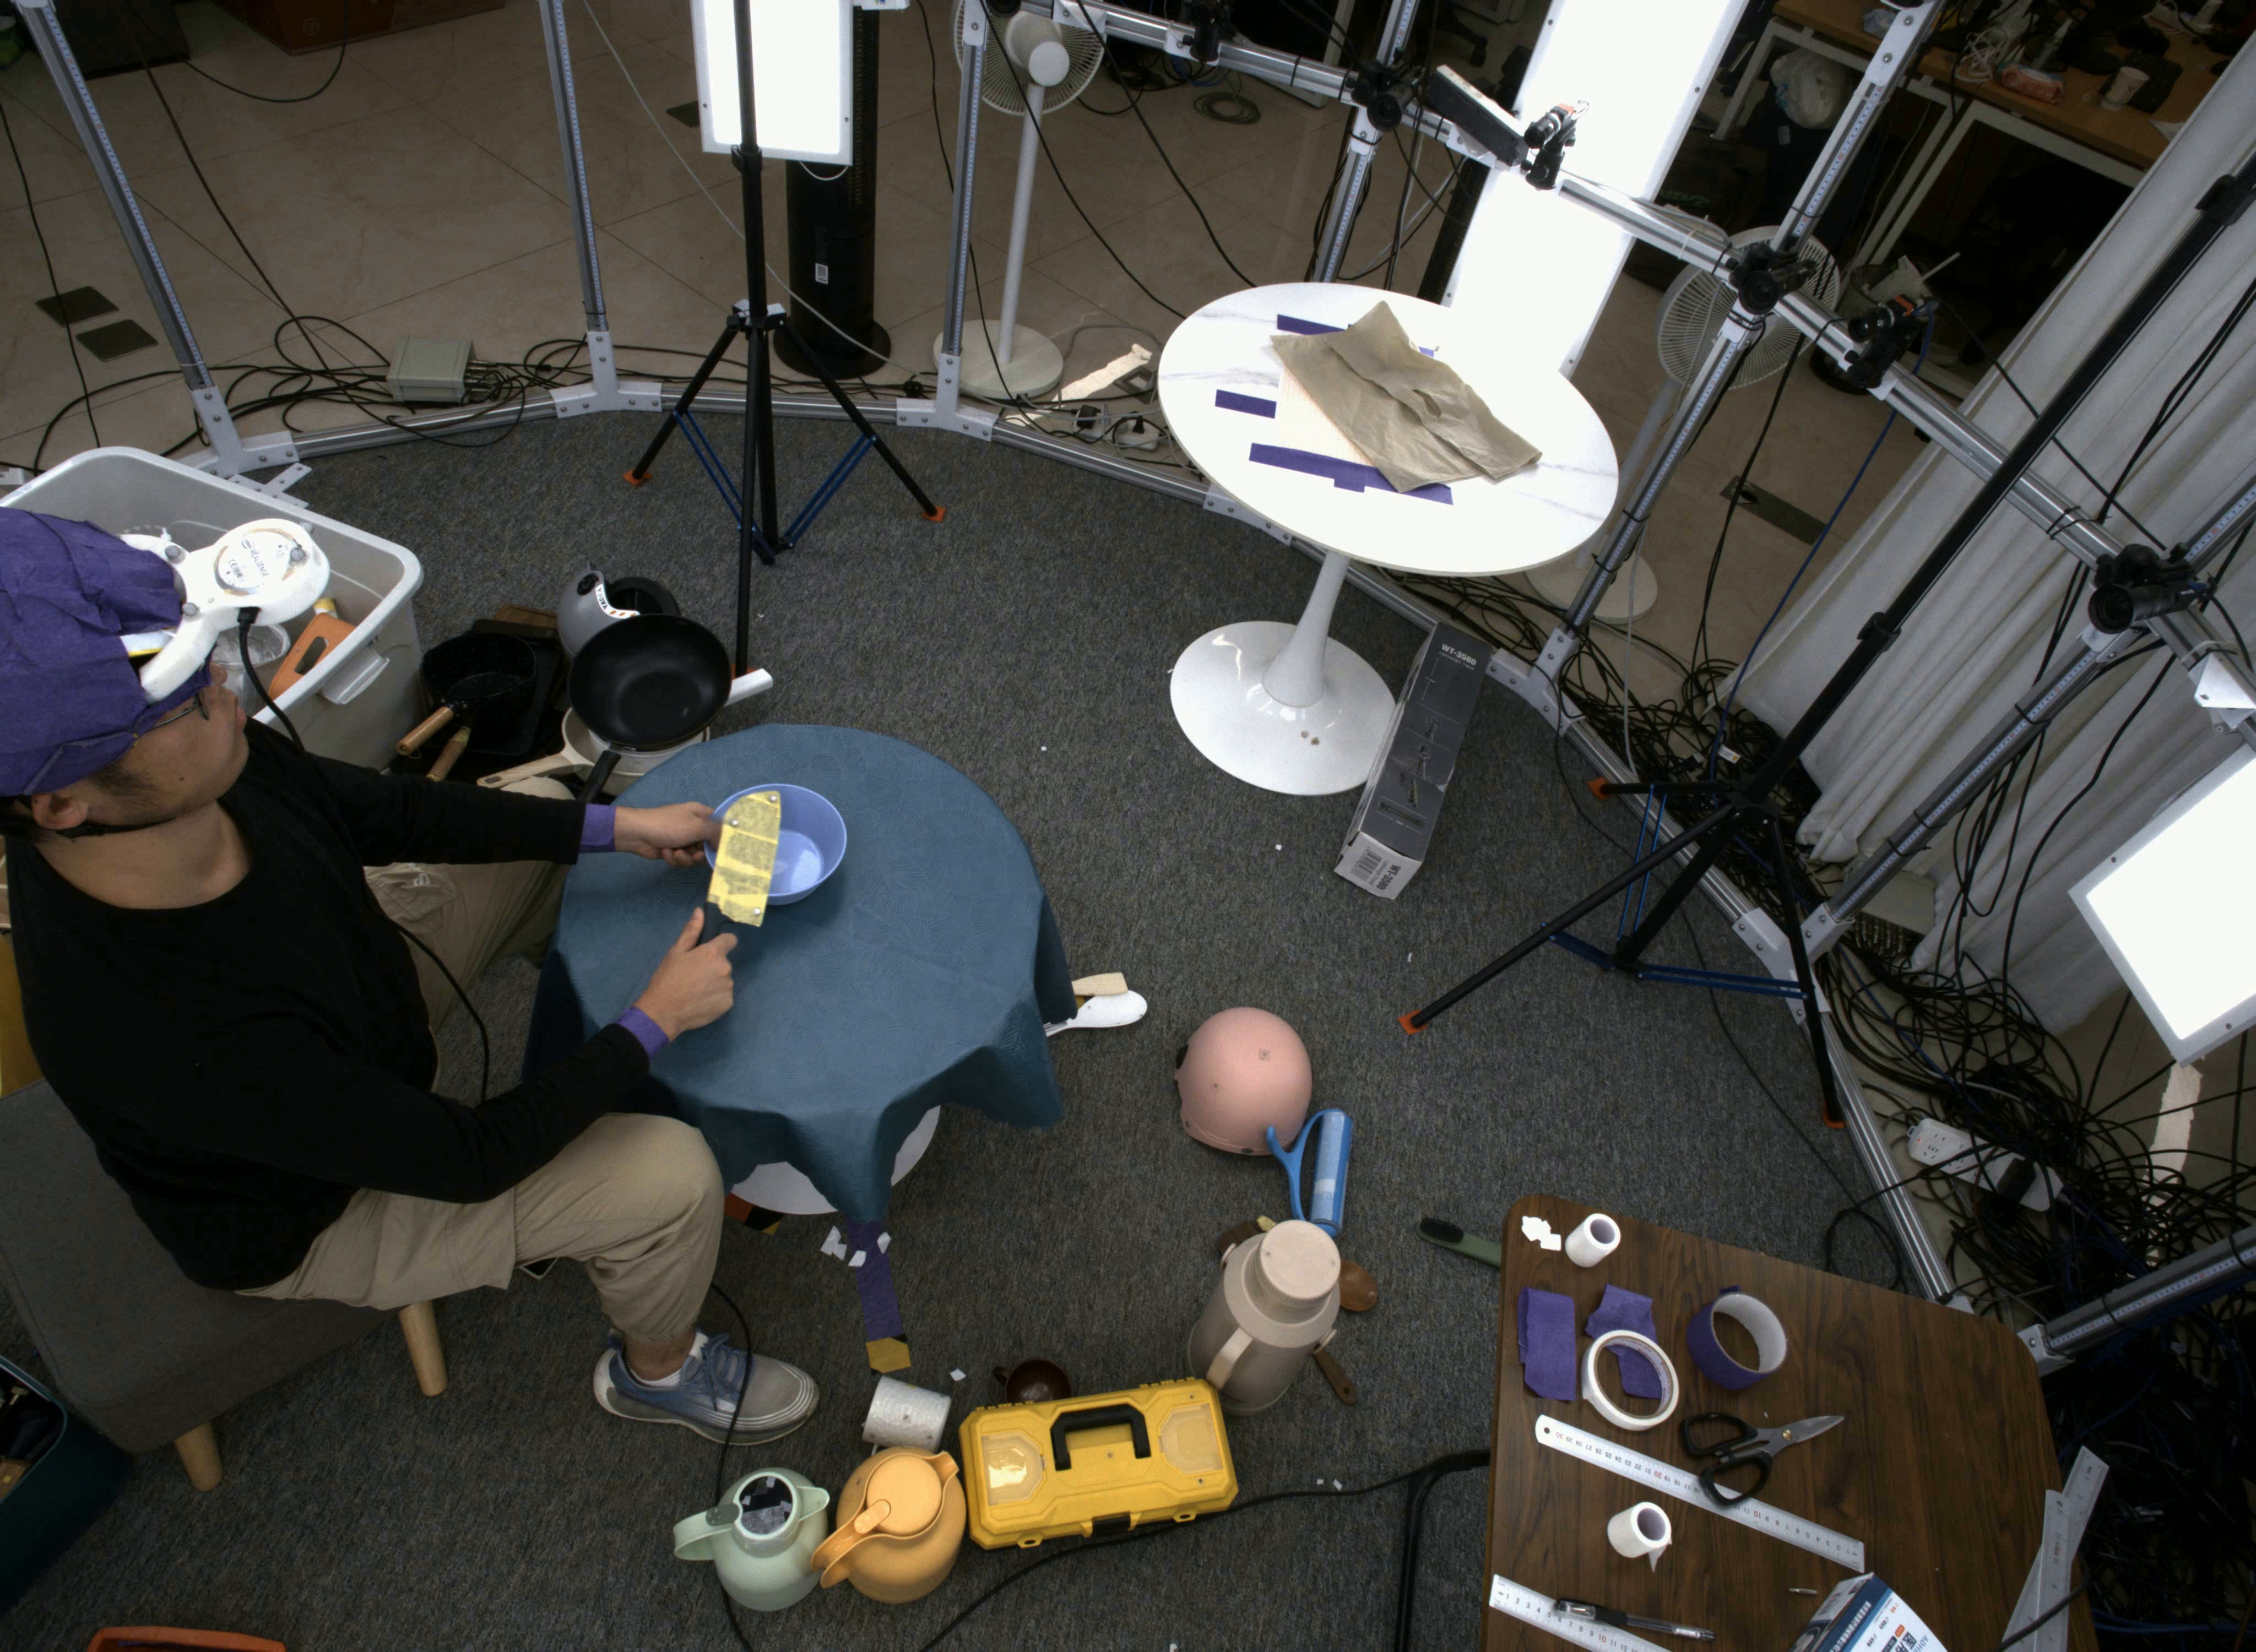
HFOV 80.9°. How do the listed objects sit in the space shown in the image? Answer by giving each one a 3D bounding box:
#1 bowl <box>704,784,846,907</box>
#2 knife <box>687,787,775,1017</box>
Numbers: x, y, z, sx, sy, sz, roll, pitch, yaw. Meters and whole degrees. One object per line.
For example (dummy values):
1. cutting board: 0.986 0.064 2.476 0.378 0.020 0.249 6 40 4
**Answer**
1. bowl: -0.447 0.034 1.646 0.176 0.071 0.173 8 53 -9
2. knife: -0.472 0.087 1.542 0.083 0.026 0.288 21 69 -33
